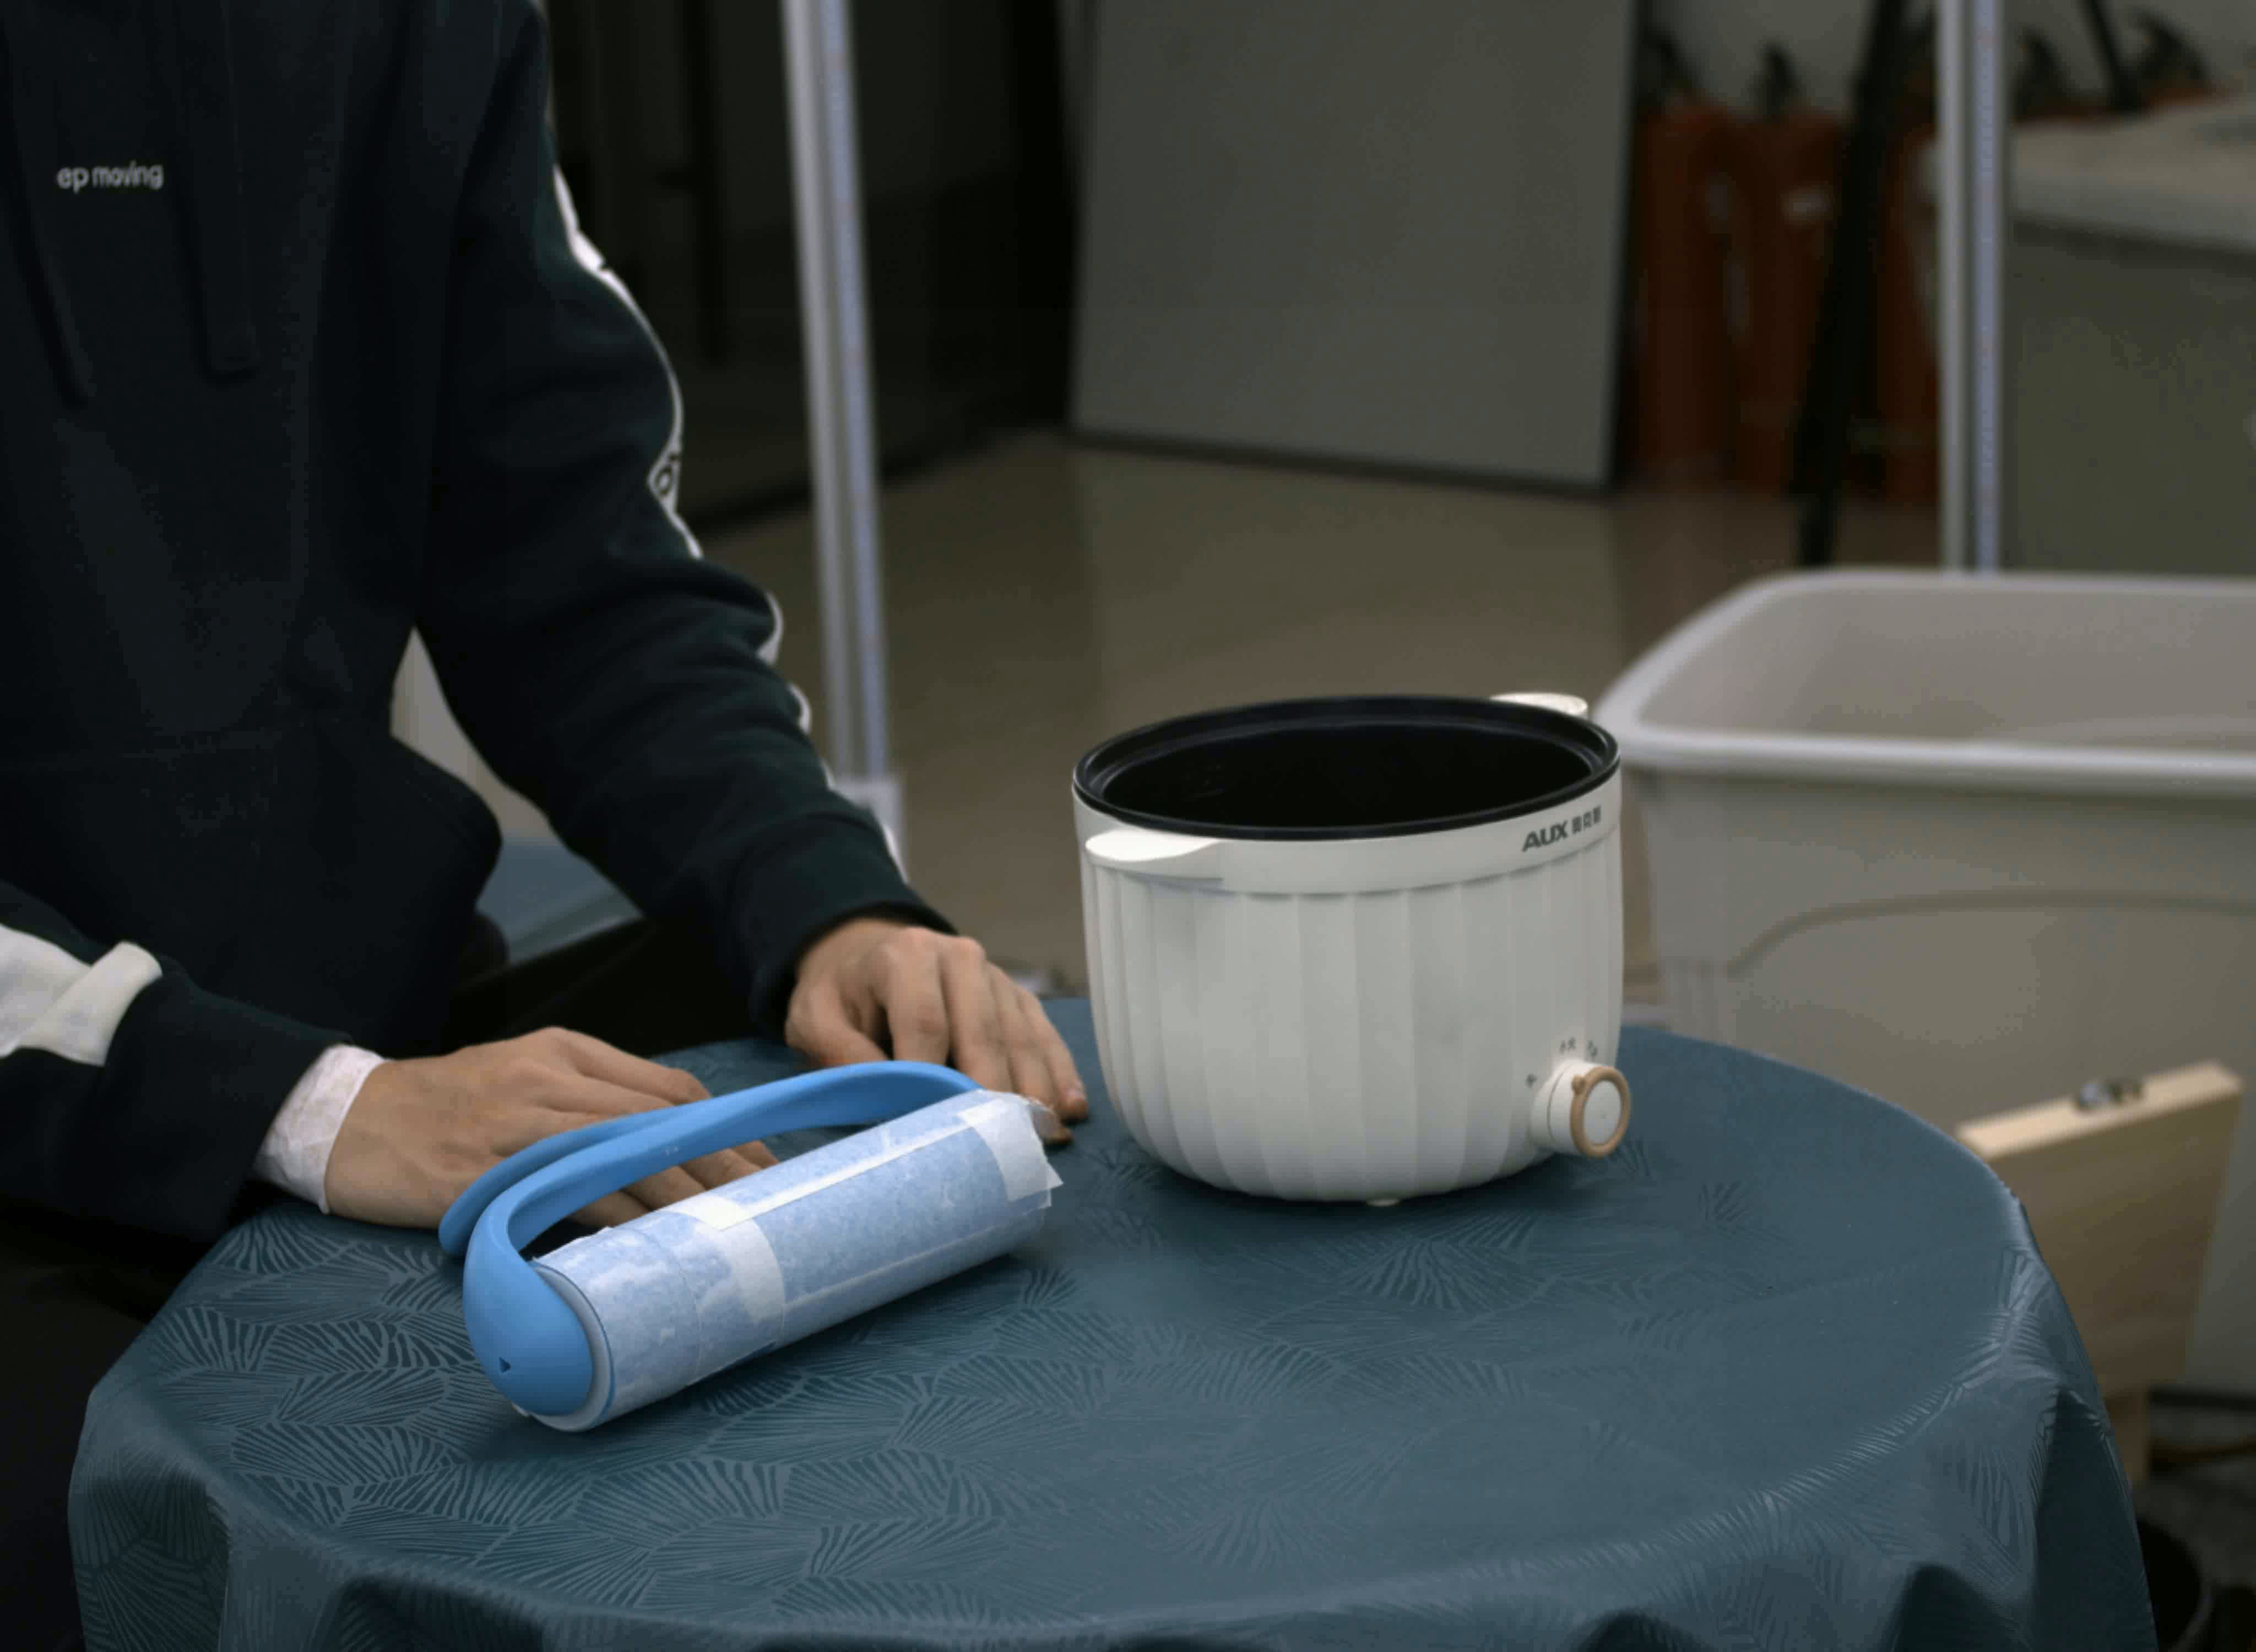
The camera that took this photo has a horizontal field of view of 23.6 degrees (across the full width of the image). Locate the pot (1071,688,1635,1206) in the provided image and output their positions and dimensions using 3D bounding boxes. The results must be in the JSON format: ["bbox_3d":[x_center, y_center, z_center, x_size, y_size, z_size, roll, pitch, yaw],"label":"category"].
[{"bbox_3d":[0.080,0.042,1.778,0.192,0.144,0.236,4,17,41],"label":"pot"}]

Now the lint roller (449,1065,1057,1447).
[{"bbox_3d":[-0.149,0.125,1.683,0.181,0.068,0.225,8,20,38],"label":"lint roller"}]
